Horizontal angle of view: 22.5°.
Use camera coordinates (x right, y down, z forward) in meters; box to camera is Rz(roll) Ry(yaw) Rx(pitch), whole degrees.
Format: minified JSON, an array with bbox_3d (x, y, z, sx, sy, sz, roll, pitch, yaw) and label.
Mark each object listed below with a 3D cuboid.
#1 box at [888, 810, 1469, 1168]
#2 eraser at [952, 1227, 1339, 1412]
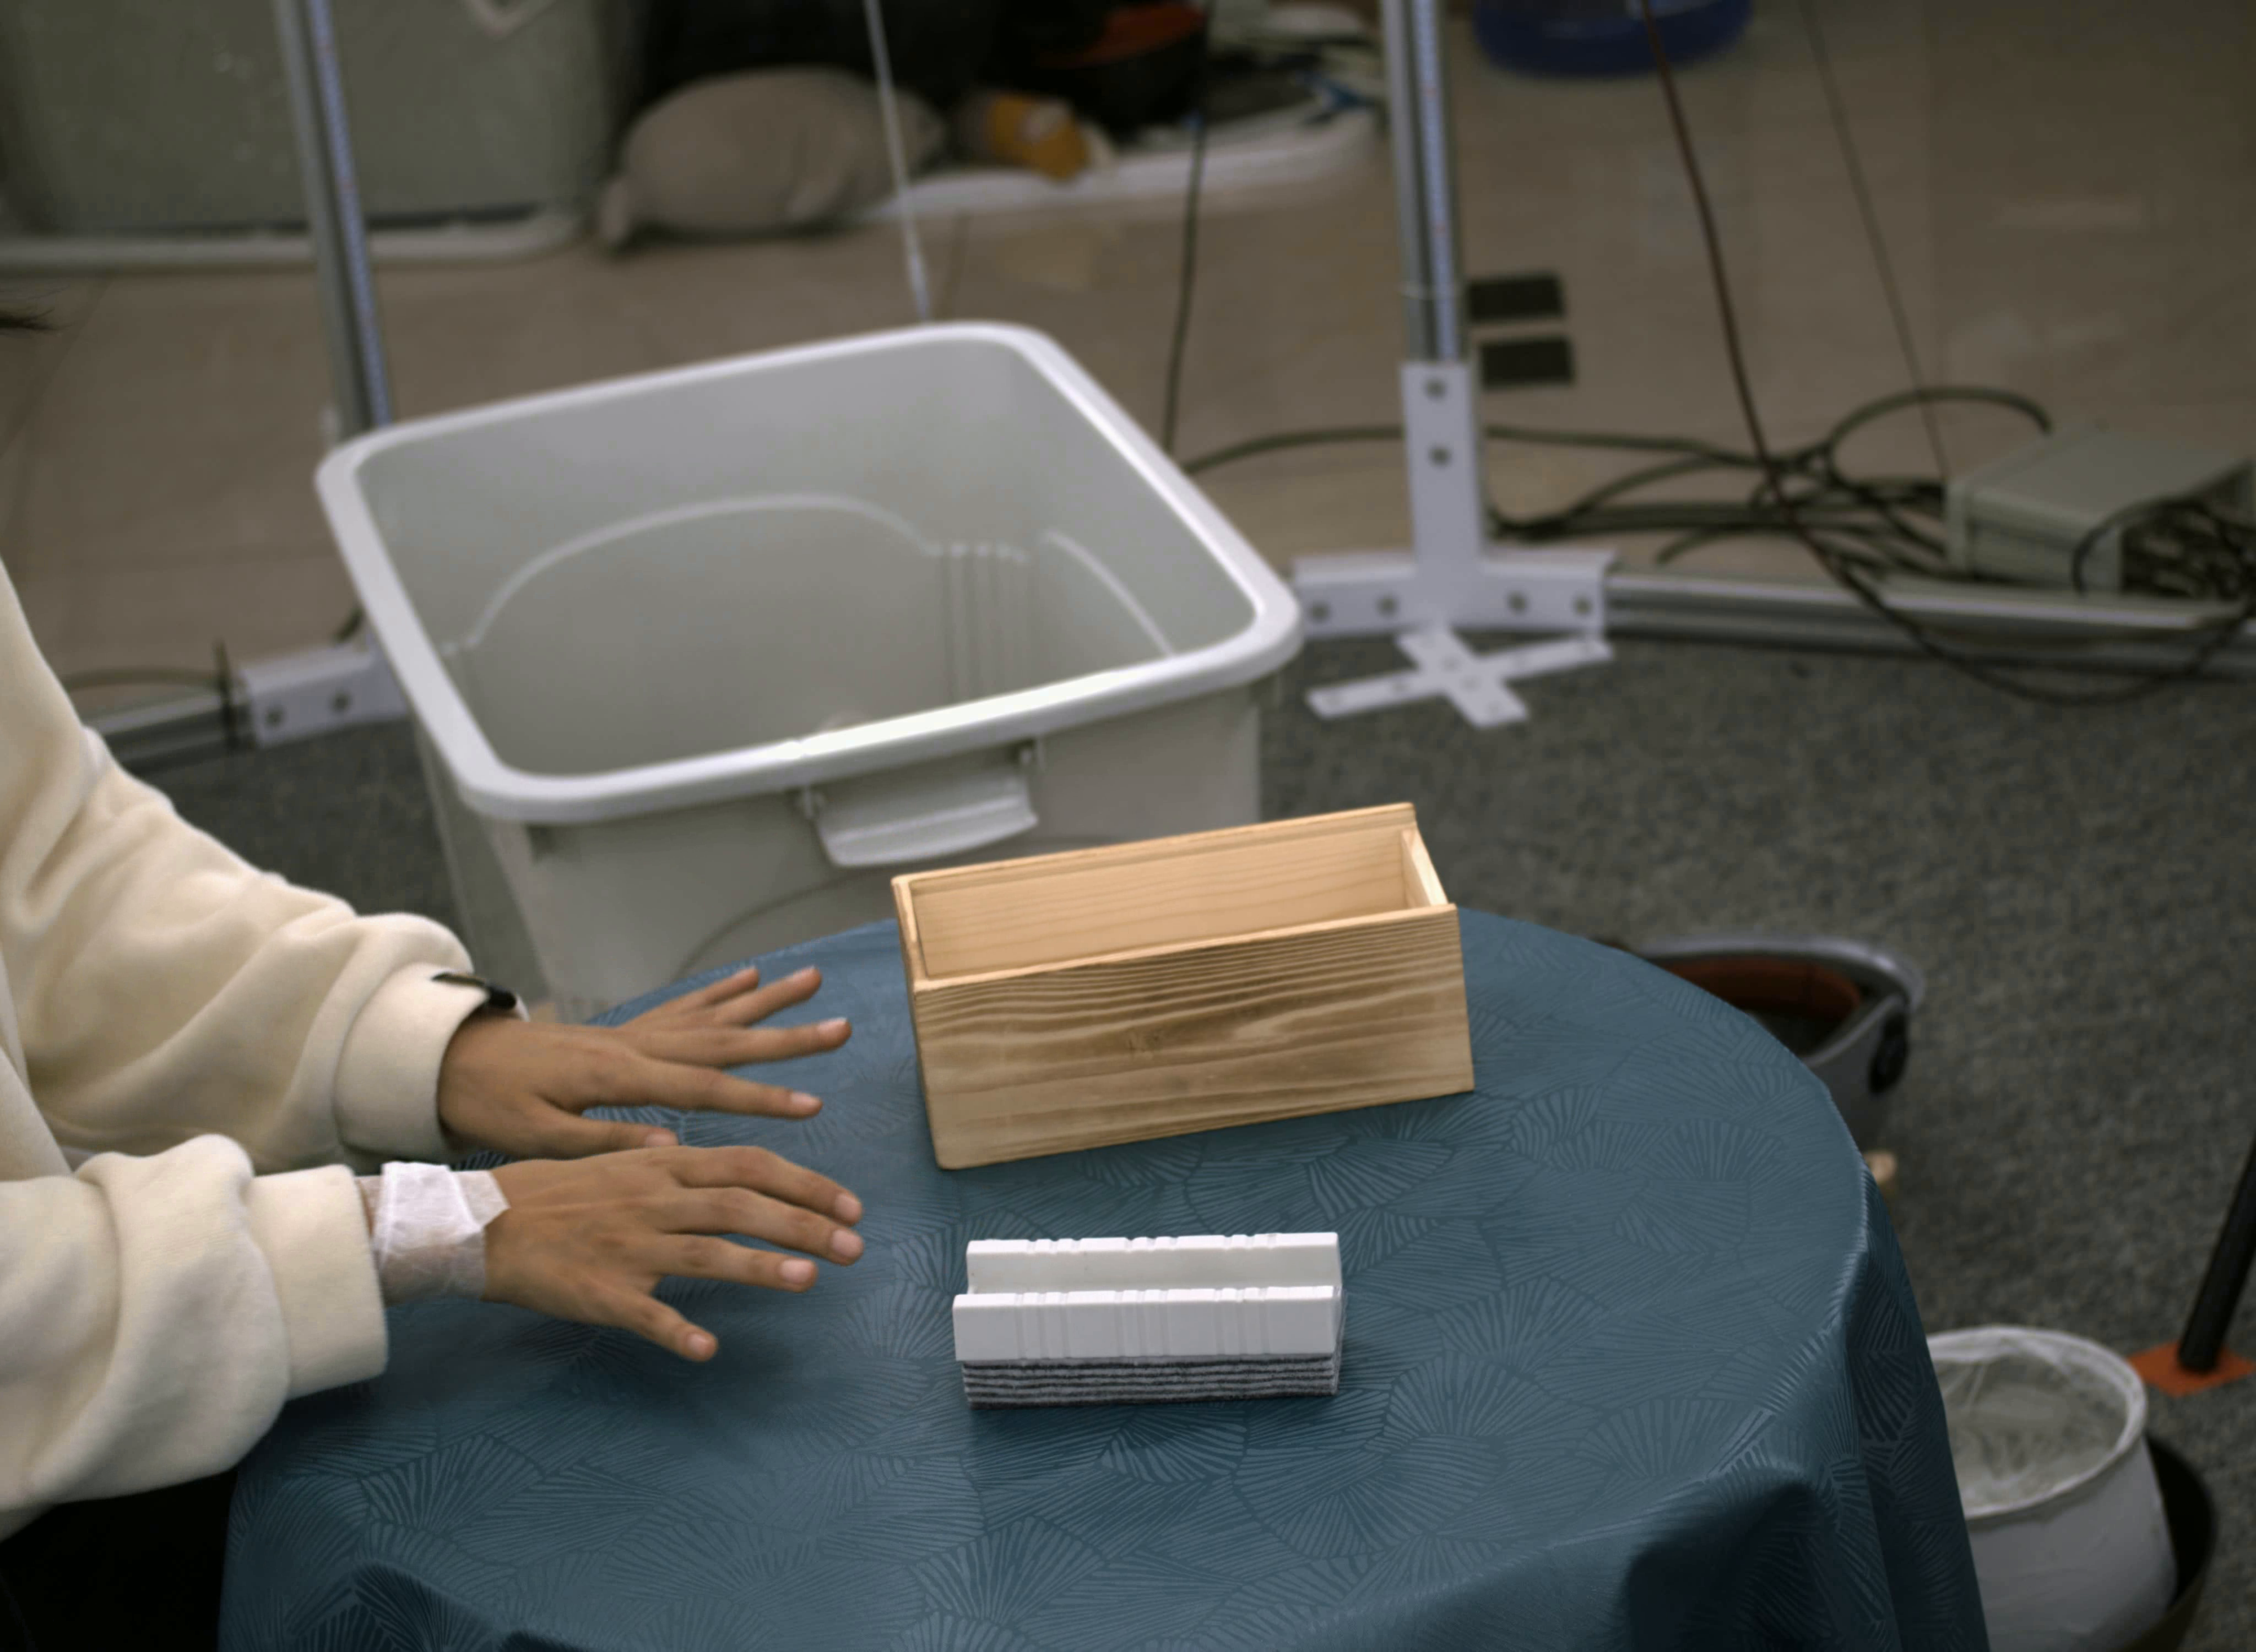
[{"bbox_3d":[0.019,0.062,2.213,0.211,0.081,0.106,-8,25,-5],"label":"box"},{"bbox_3d":[0.008,0.175,2.012,0.134,0.047,0.049,-2,27,5],"label":"eraser"}]
